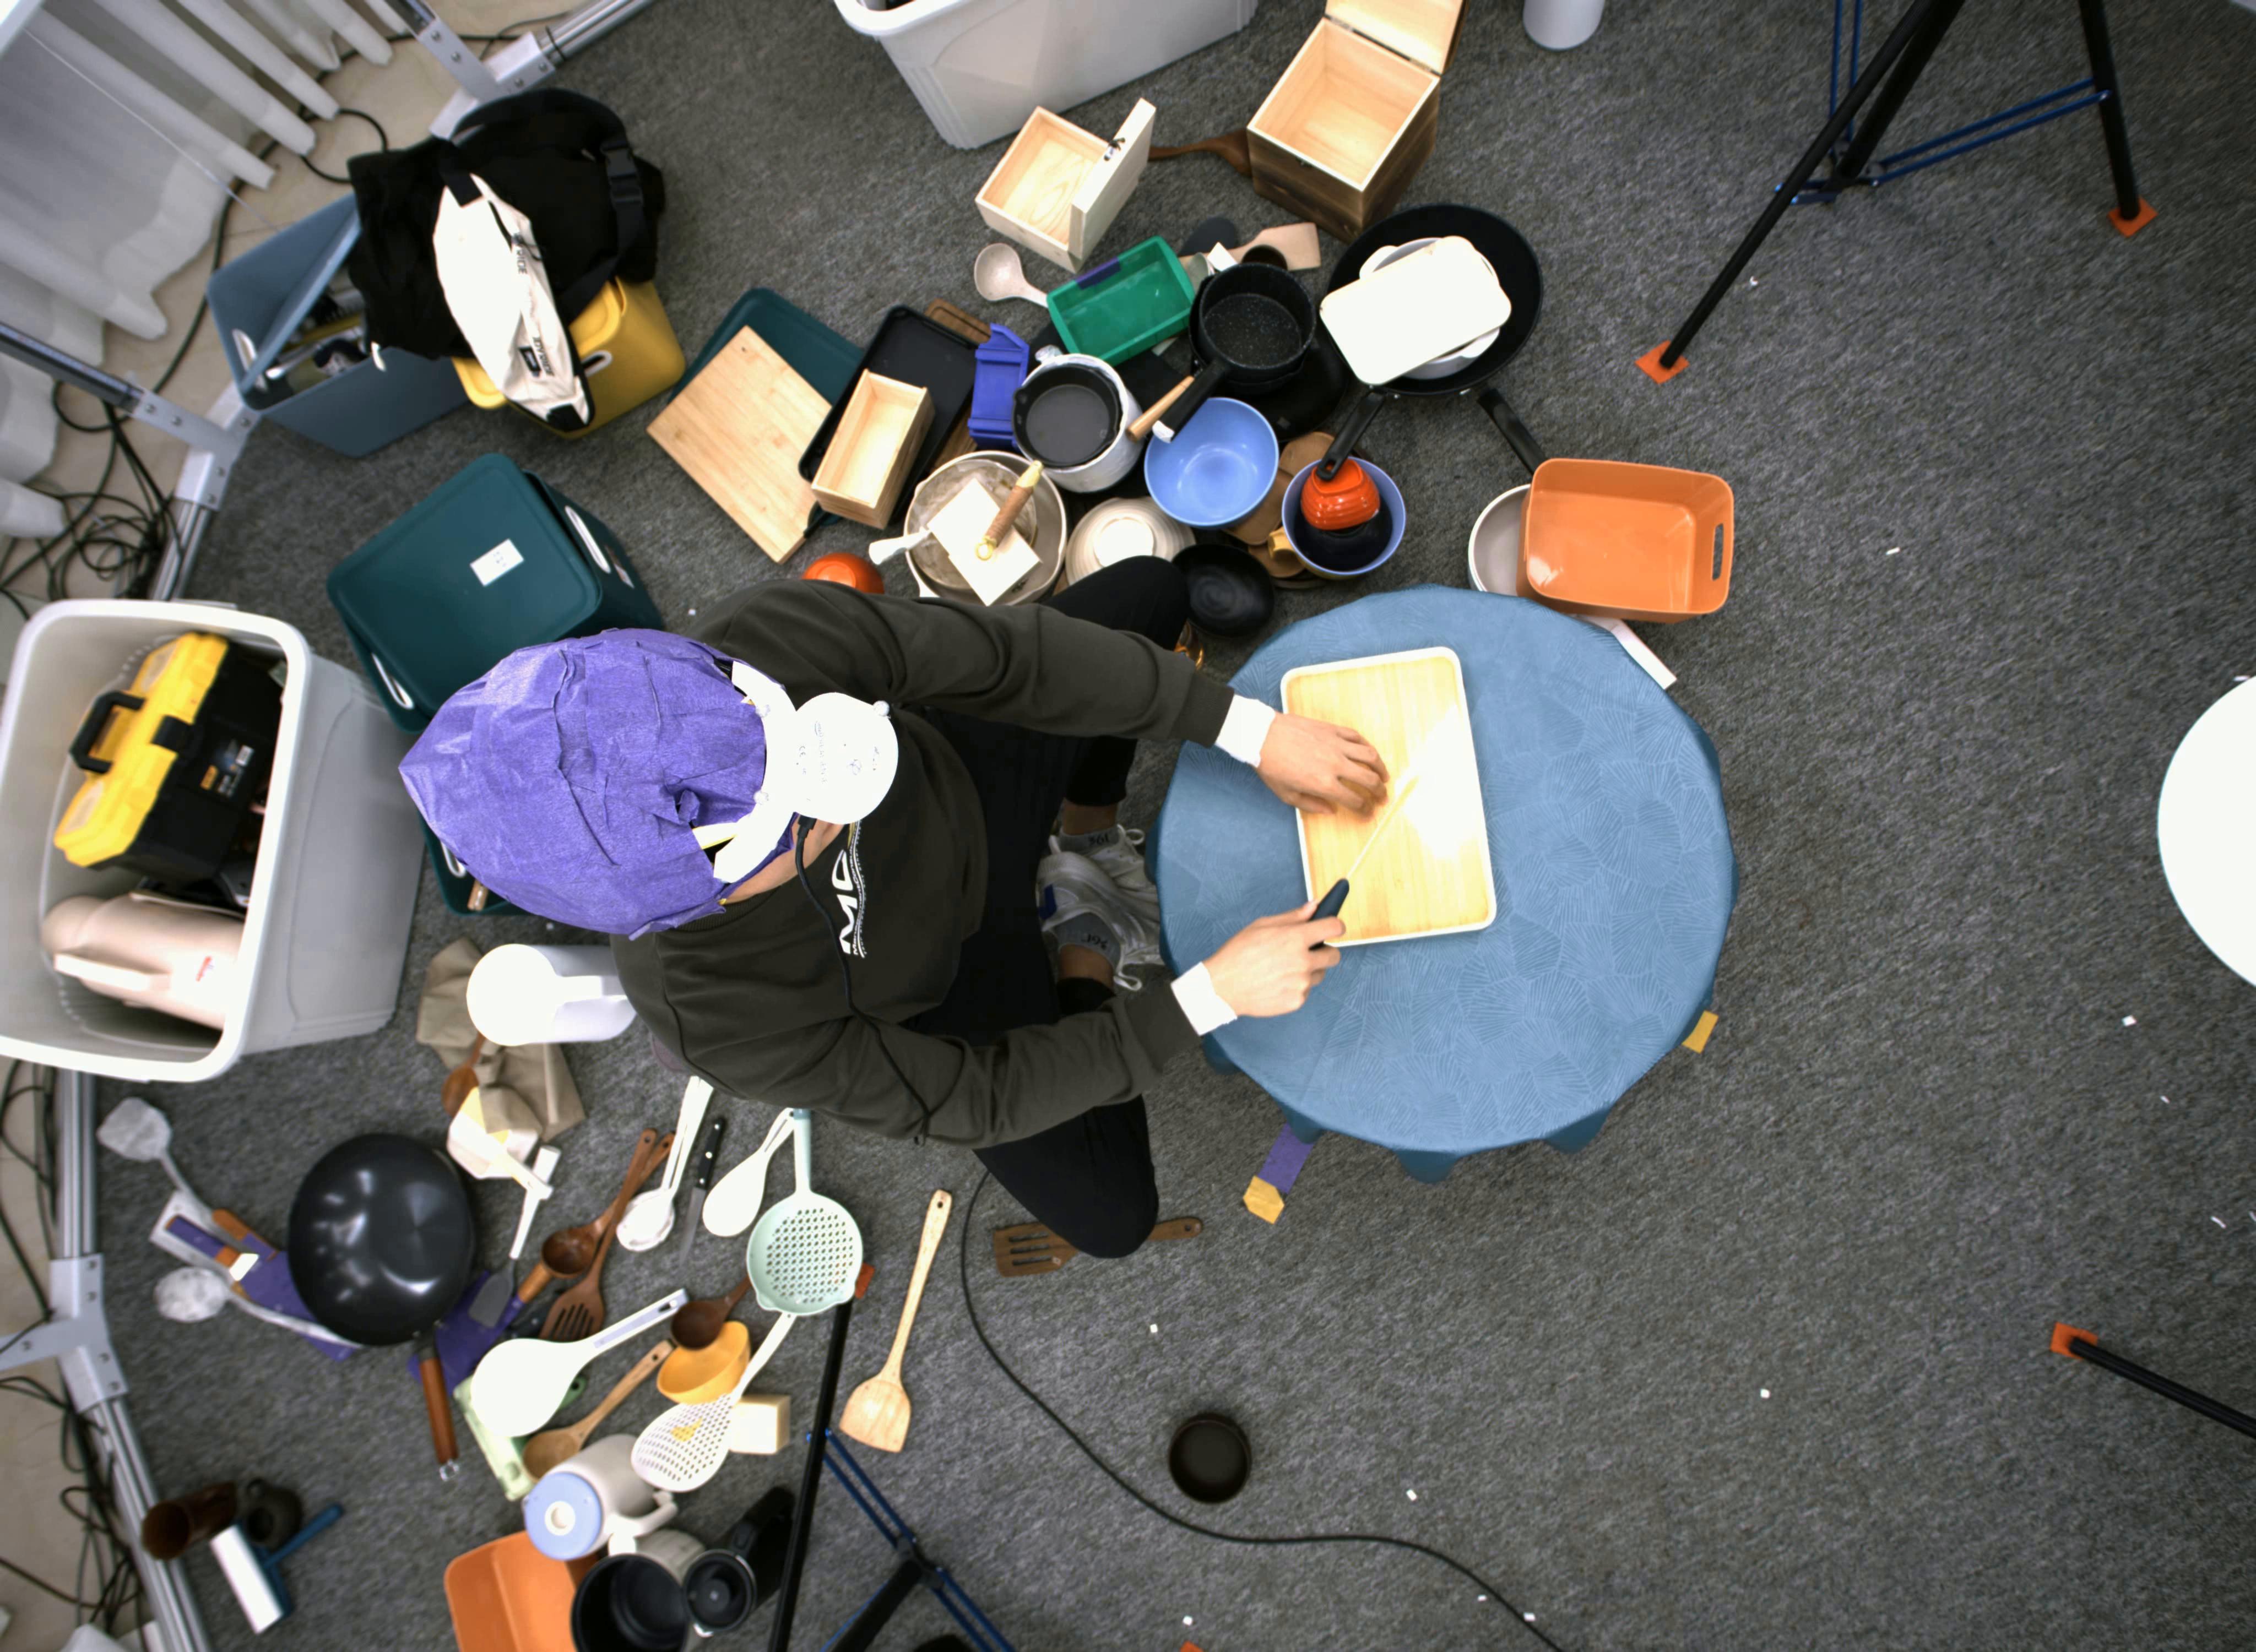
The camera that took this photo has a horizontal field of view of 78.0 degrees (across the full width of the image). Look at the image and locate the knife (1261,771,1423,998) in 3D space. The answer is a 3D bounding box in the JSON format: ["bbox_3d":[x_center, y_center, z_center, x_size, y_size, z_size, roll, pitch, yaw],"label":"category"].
[{"bbox_3d":[0.220,0.055,1.388,0.027,0.082,0.286,33,77,16],"label":"knife"}]

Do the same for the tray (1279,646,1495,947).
[{"bbox_3d":[0.271,-0.032,1.452,0.192,0.027,0.298,-8,85,11],"label":"tray"}]
